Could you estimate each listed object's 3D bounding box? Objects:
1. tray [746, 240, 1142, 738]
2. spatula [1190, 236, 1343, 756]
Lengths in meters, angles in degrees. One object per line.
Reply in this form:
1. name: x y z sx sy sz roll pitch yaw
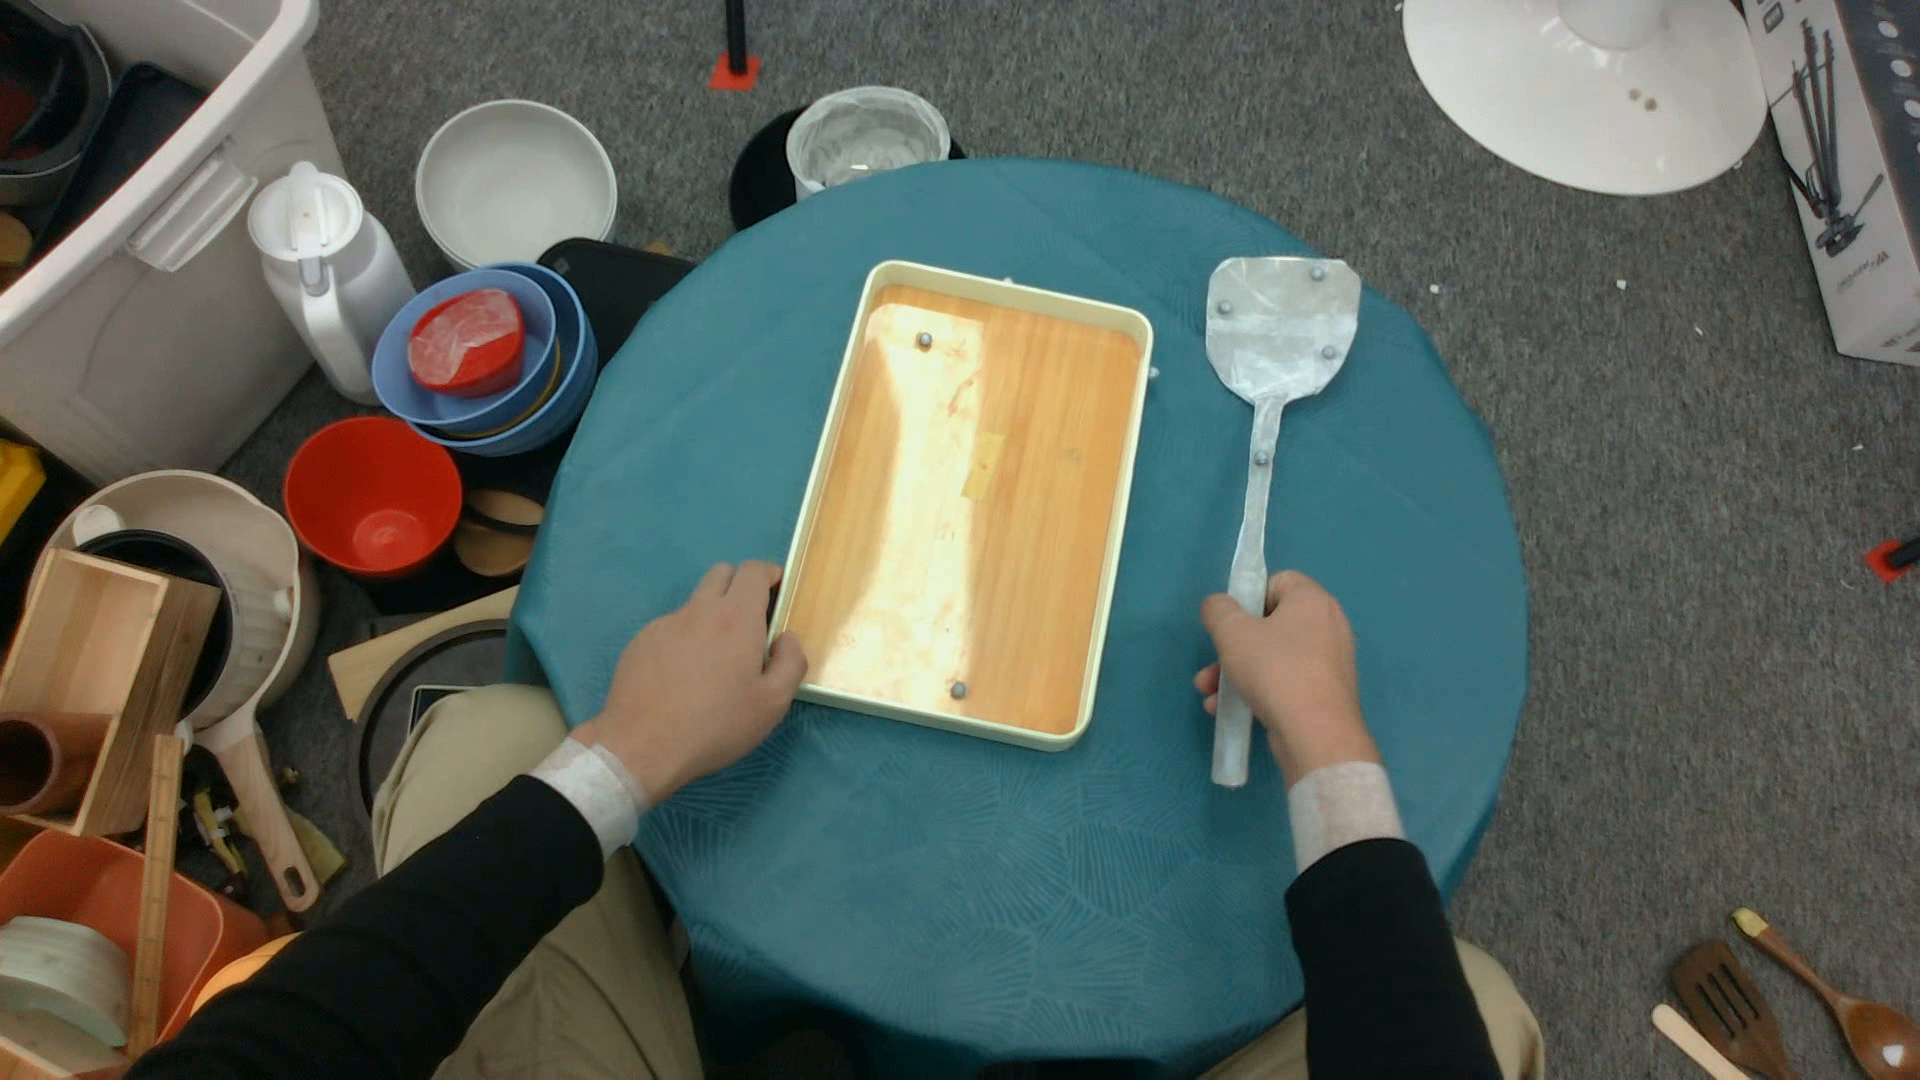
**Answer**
1. tray: -0.003 -0.040 0.838 0.191 0.027 0.301 13 65 0
2. spatula: 0.172 -0.041 0.830 0.098 0.044 0.366 7 56 11
